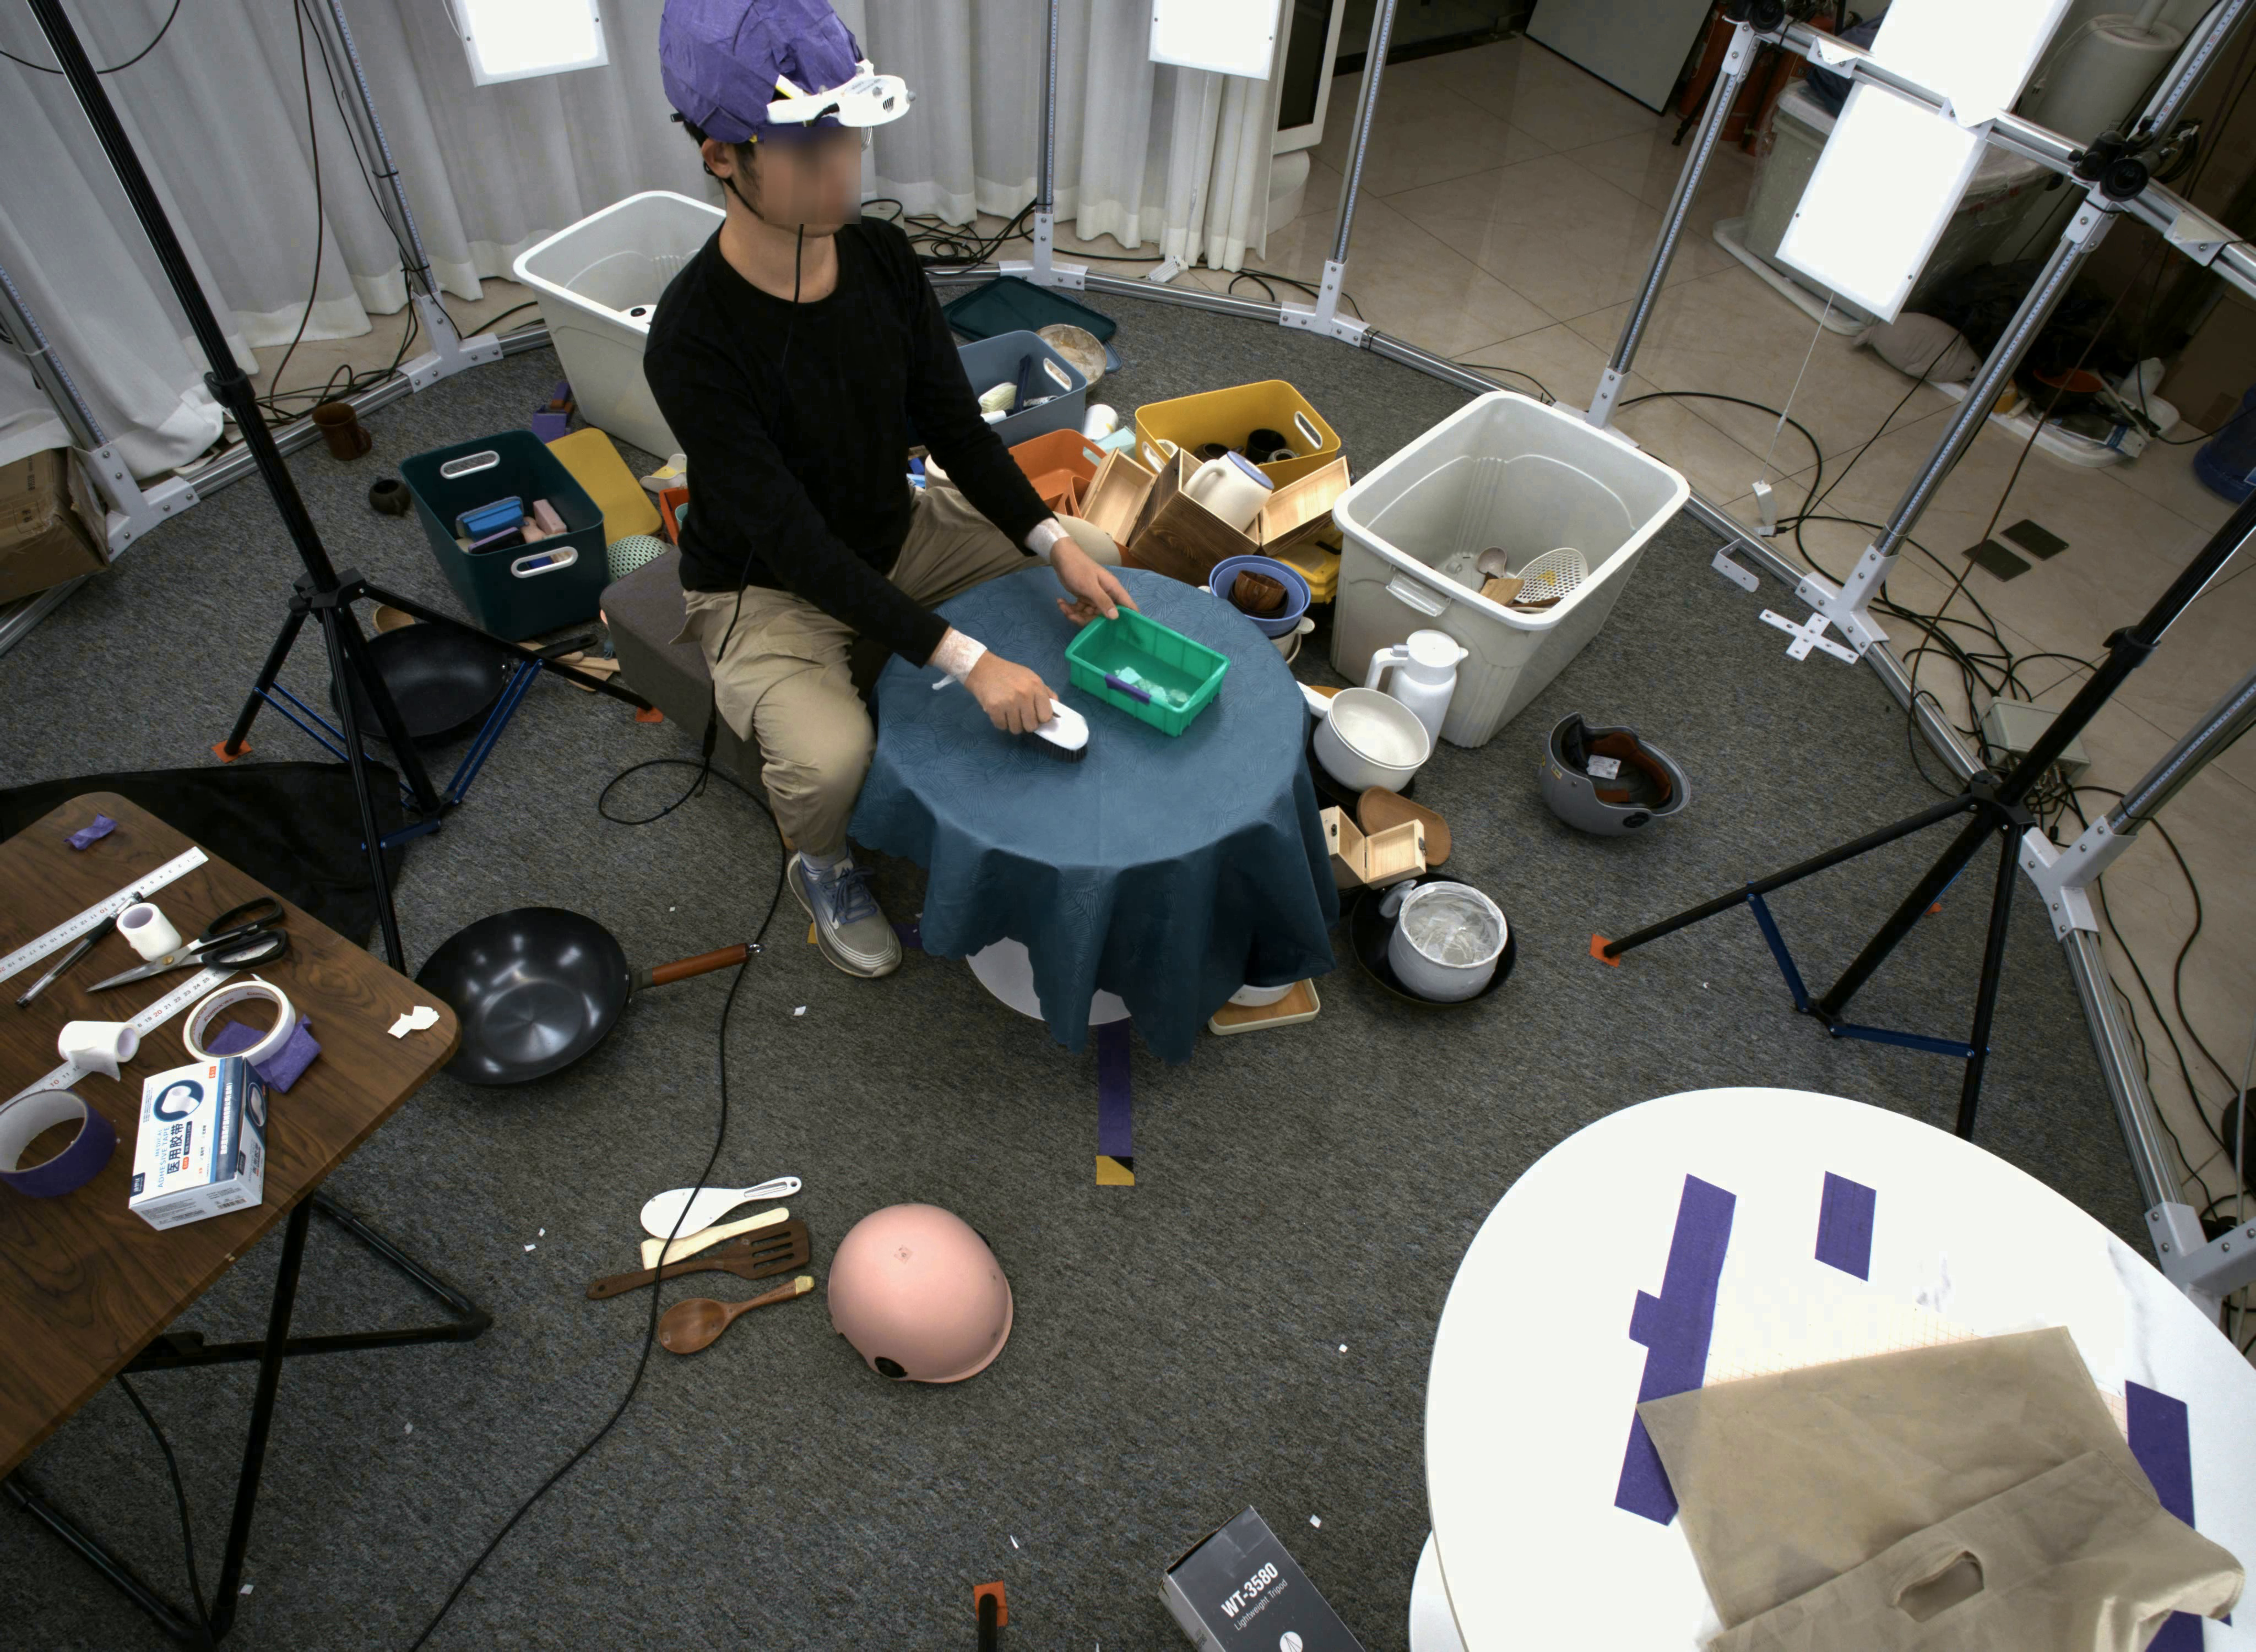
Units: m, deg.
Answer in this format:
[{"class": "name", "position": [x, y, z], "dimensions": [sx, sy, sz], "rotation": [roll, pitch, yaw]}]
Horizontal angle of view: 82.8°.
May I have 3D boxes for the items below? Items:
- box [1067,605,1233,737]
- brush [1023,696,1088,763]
[{"class": "box", "position": [0.030, -0.218, 1.821], "dimensions": [0.212, 0.064, 0.140], "rotation": [28, 55, 18]}, {"class": "brush", "position": [-0.098, -0.138, 1.736], "dimensions": [0.100, 0.071, 0.051], "rotation": [32, 55, 21]}]
